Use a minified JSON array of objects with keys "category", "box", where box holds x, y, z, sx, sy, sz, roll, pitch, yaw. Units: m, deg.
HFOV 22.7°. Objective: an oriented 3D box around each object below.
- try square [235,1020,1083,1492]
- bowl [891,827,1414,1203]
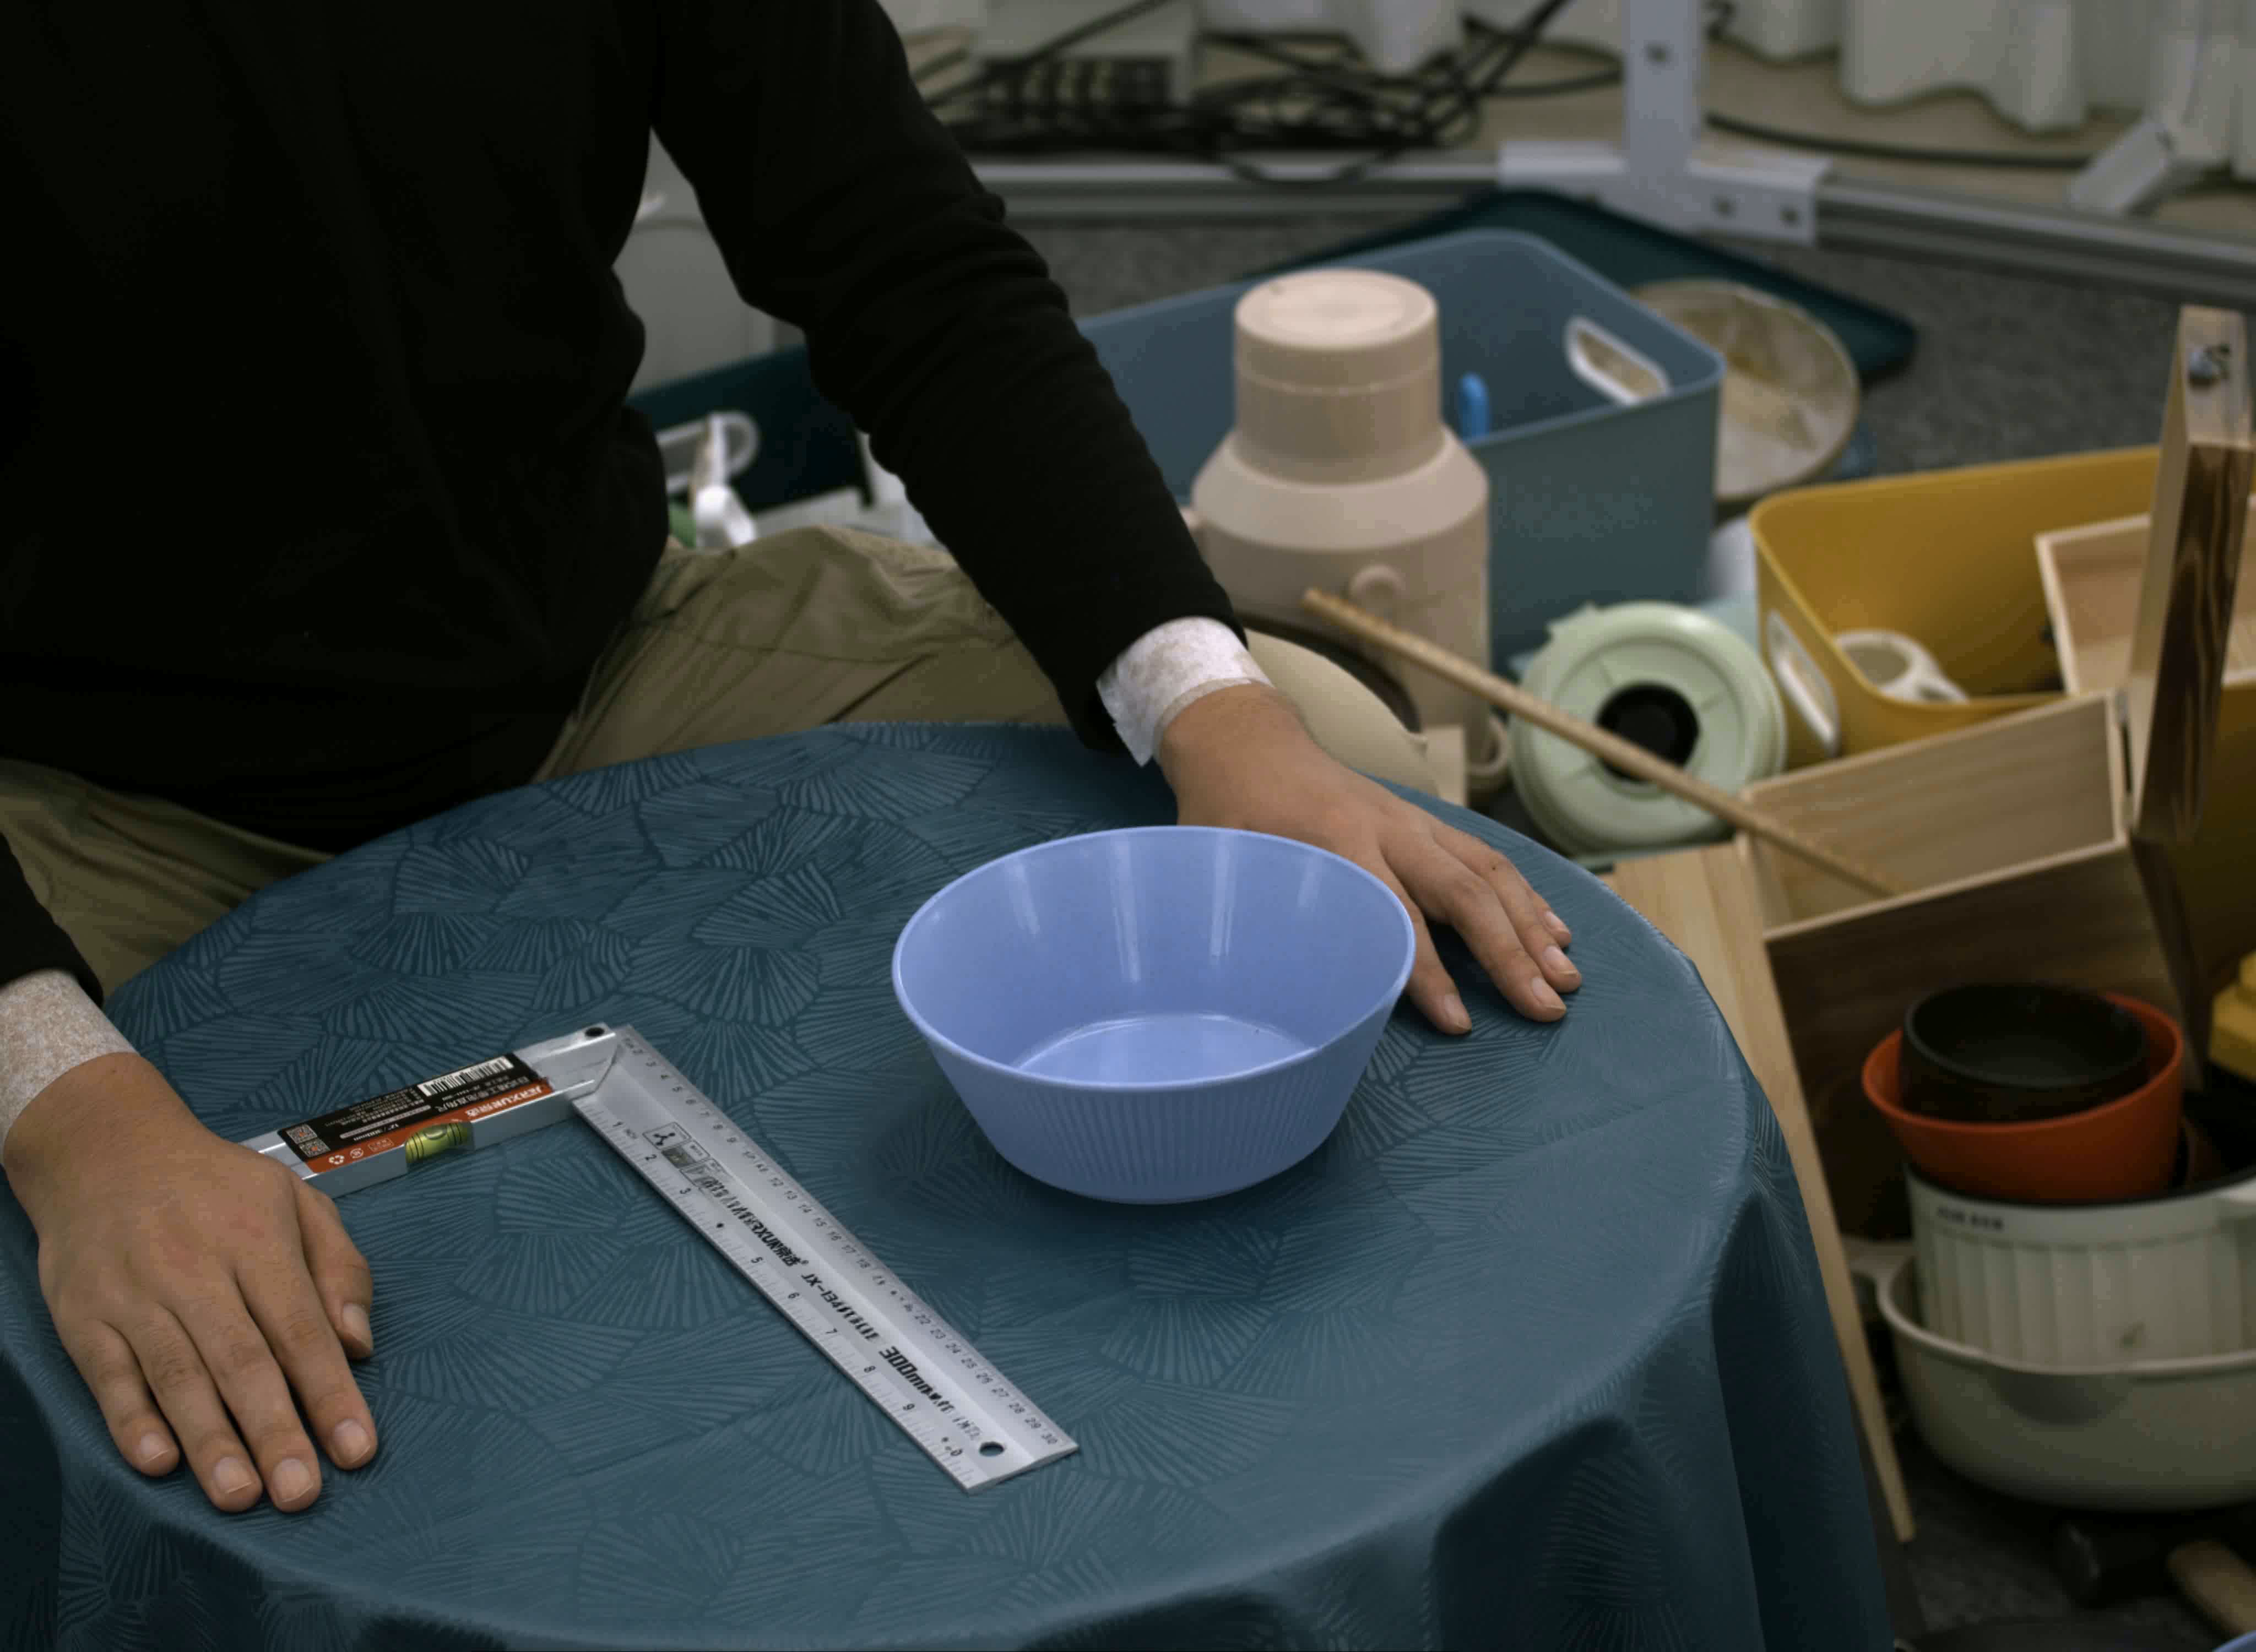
[{"category":"try square","box":[-0.158,0.153,1.812,0.153,0.016,0.314,-21,33,-25]},{"category":"bowl","box":[0.010,0.069,1.887,0.175,0.069,0.179,-2,28,2]}]
